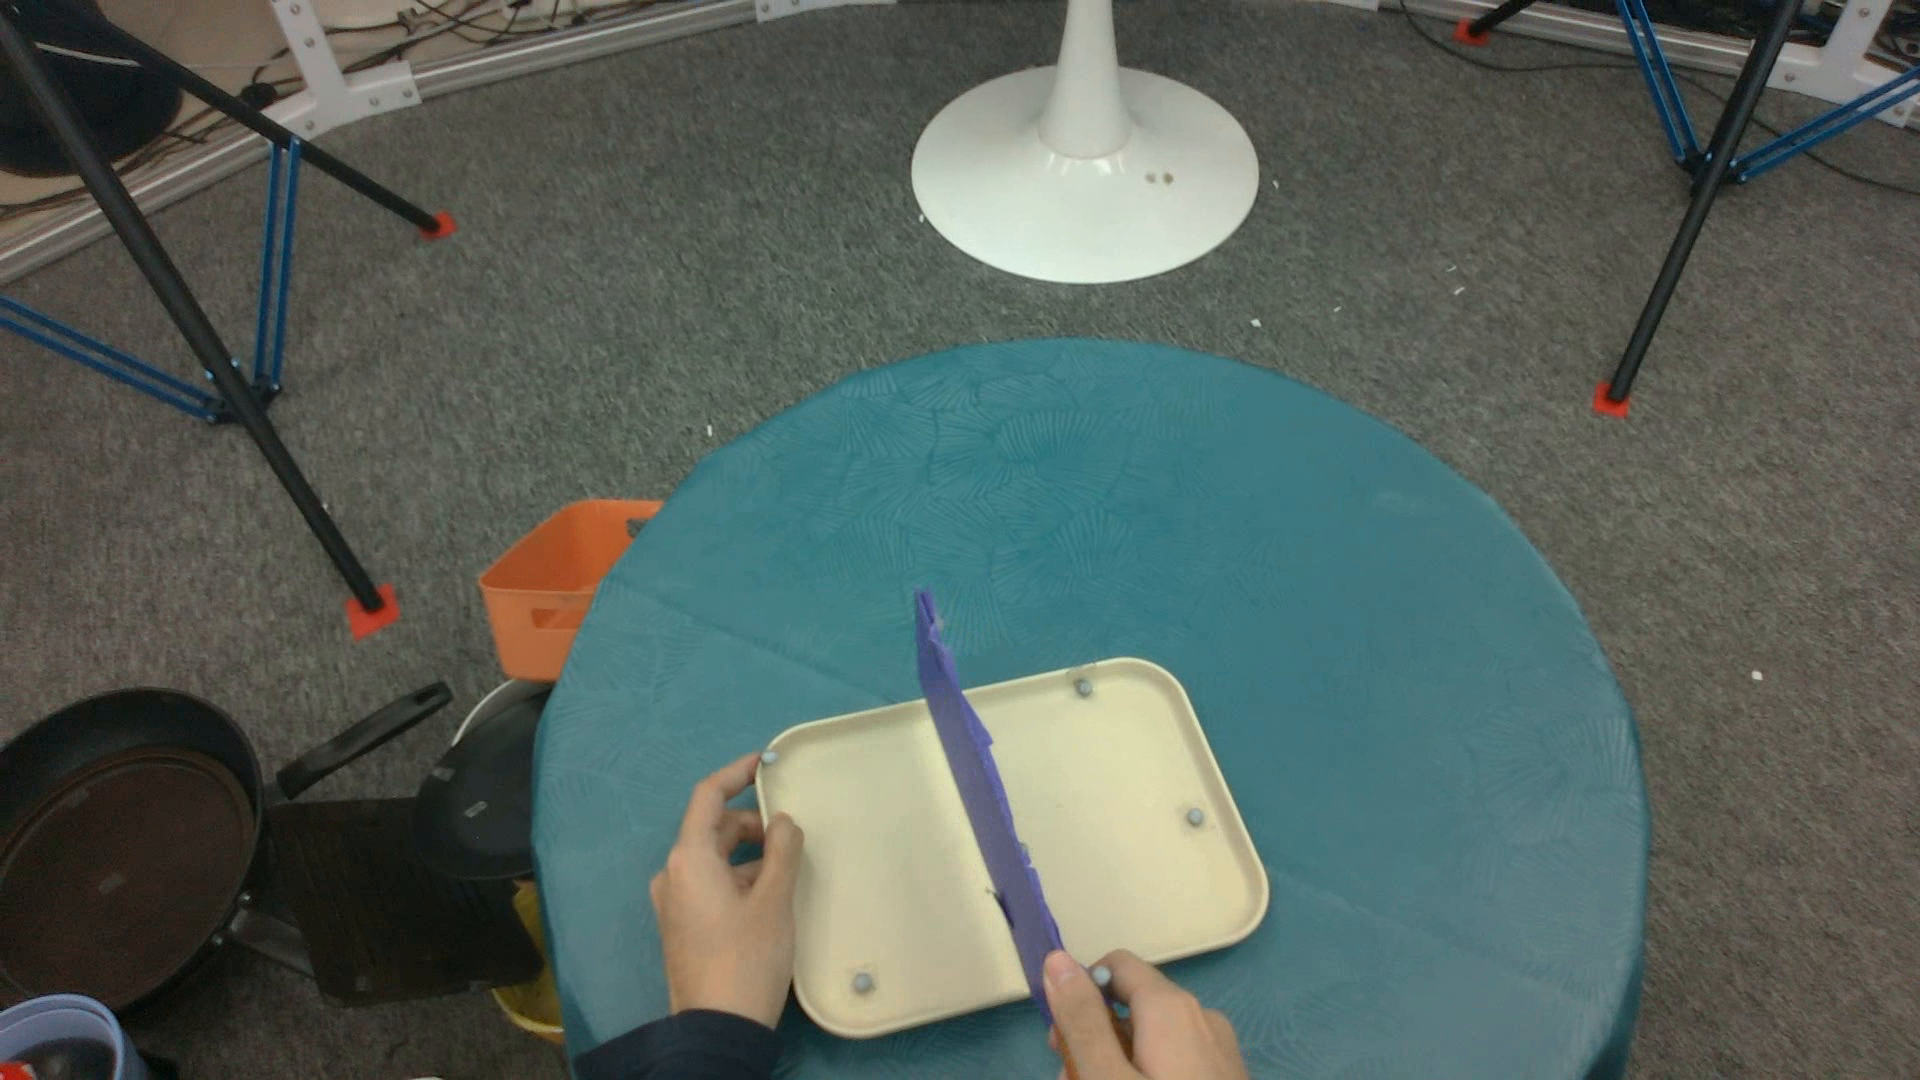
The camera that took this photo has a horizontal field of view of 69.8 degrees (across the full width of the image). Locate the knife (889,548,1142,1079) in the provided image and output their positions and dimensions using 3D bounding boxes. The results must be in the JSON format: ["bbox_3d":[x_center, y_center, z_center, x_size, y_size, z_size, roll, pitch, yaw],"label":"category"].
[{"bbox_3d":[0.022,0.150,0.616,0.032,0.103,0.316,-16,55,-10],"label":"knife"}]

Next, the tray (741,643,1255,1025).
[{"bbox_3d":[0.017,0.144,0.705,0.240,0.017,0.172,-11,52,-12],"label":"tray"}]
